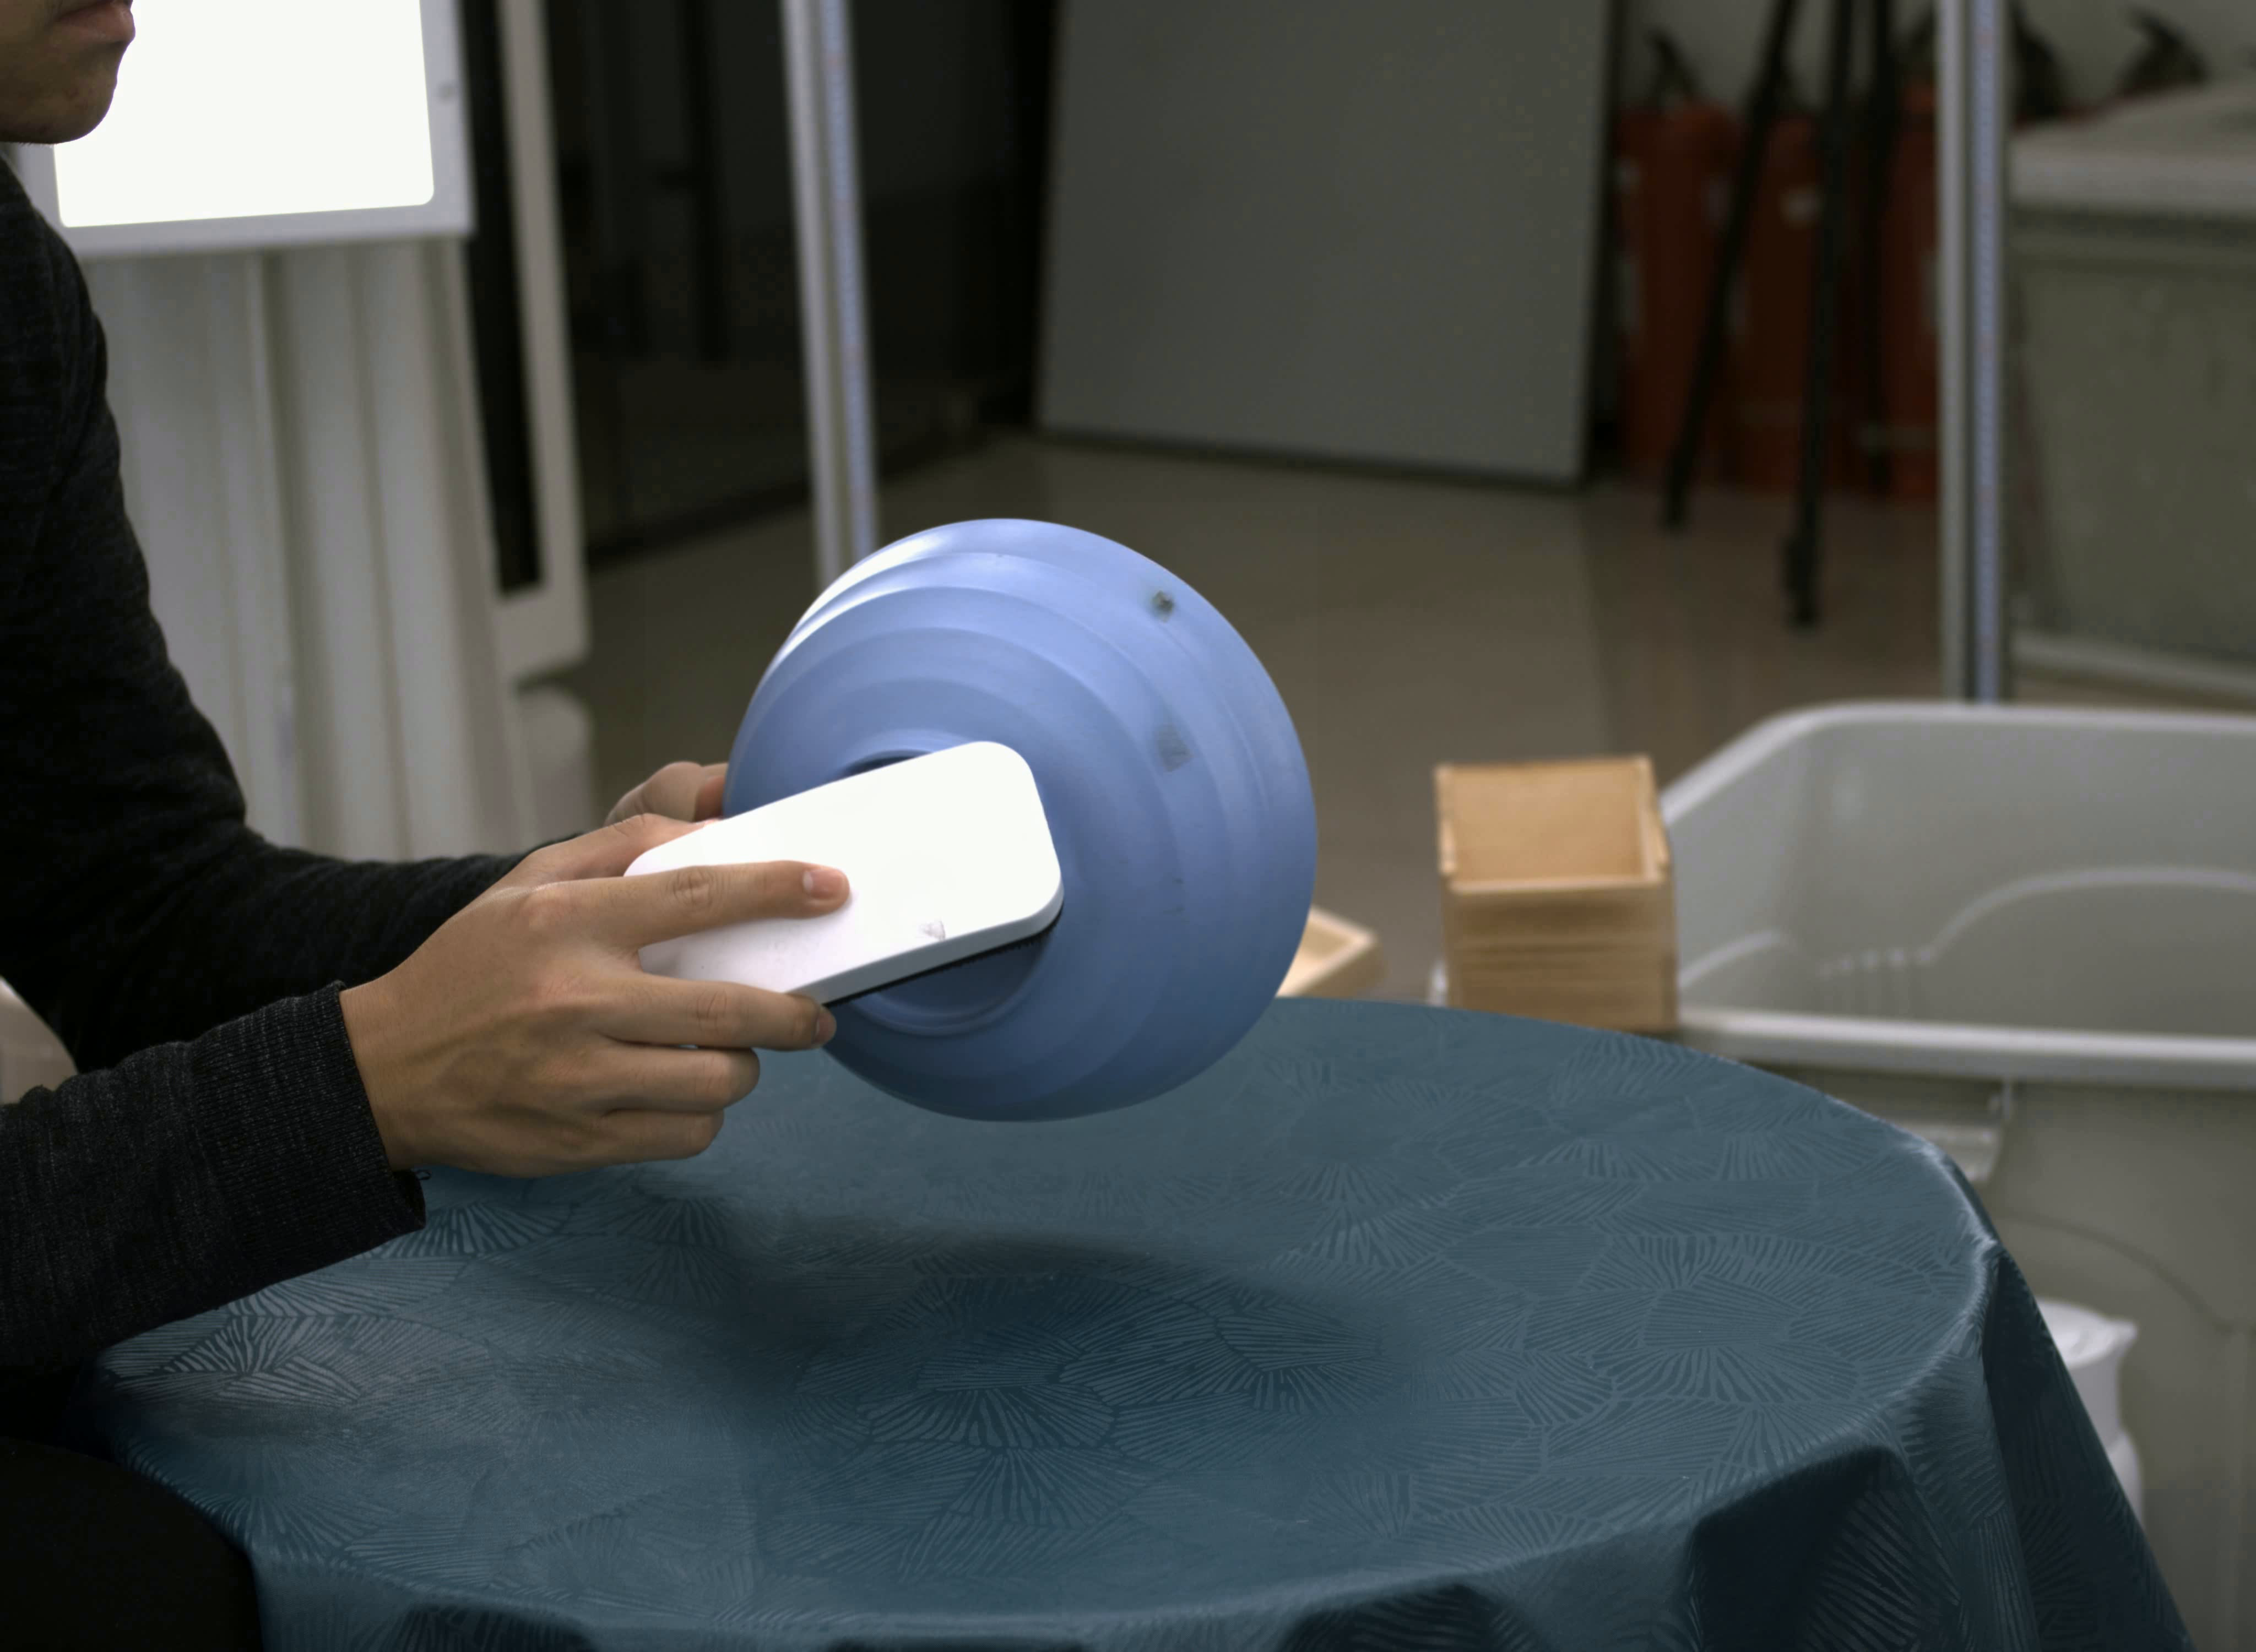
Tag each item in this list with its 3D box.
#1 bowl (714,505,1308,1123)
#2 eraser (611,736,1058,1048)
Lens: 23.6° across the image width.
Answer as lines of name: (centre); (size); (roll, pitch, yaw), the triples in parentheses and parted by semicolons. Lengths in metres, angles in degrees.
bowl: (-0.051, 0.007, 1.670); (0.196, 0.198, 0.094); (3, 15, 24)
eraser: (-0.086, 0.018, 1.590); (0.130, 0.064, 0.034); (-18, -28, 4)
